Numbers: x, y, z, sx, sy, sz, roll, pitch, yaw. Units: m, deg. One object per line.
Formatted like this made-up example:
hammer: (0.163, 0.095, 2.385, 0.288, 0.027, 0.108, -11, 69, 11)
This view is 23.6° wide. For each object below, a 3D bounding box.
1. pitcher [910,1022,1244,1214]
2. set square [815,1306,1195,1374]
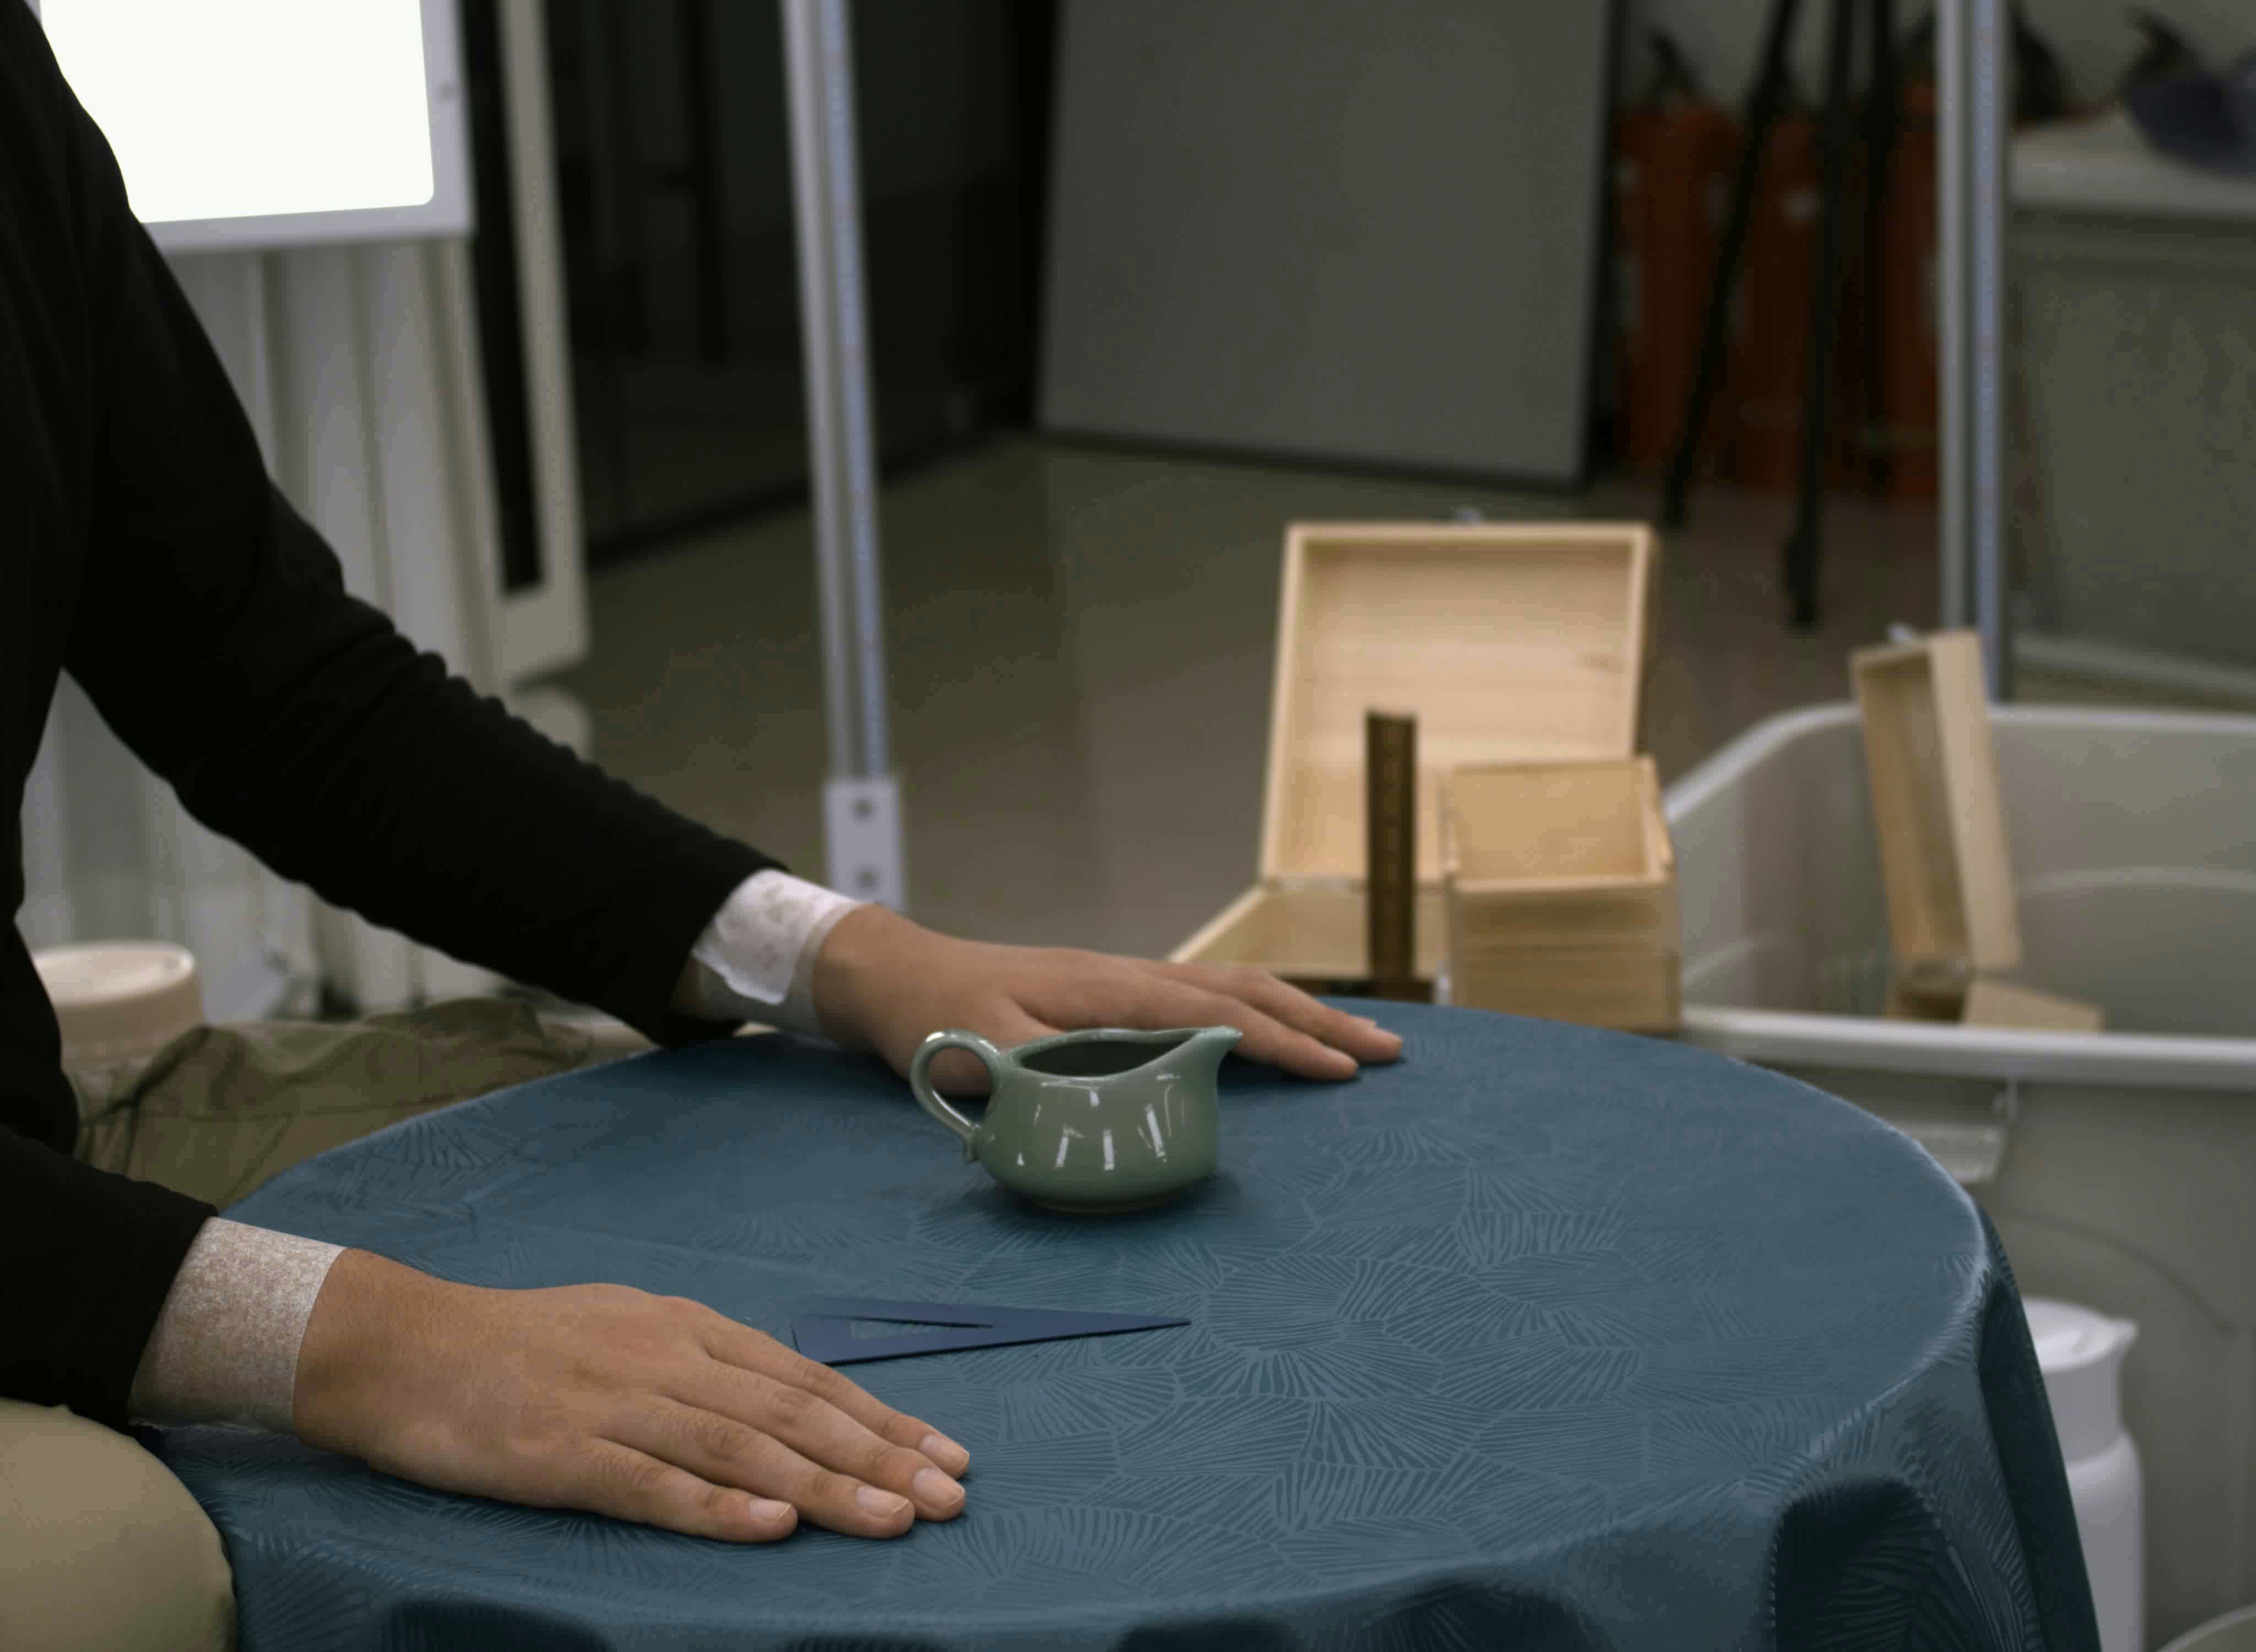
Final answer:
pitcher: (-0.015, 0.094, 1.768, 0.112, 0.057, 0.084, -2, 11, 10)
set square: (-0.047, 0.158, 1.628, 0.132, 0.006, 0.060, 3, 14, 25)
